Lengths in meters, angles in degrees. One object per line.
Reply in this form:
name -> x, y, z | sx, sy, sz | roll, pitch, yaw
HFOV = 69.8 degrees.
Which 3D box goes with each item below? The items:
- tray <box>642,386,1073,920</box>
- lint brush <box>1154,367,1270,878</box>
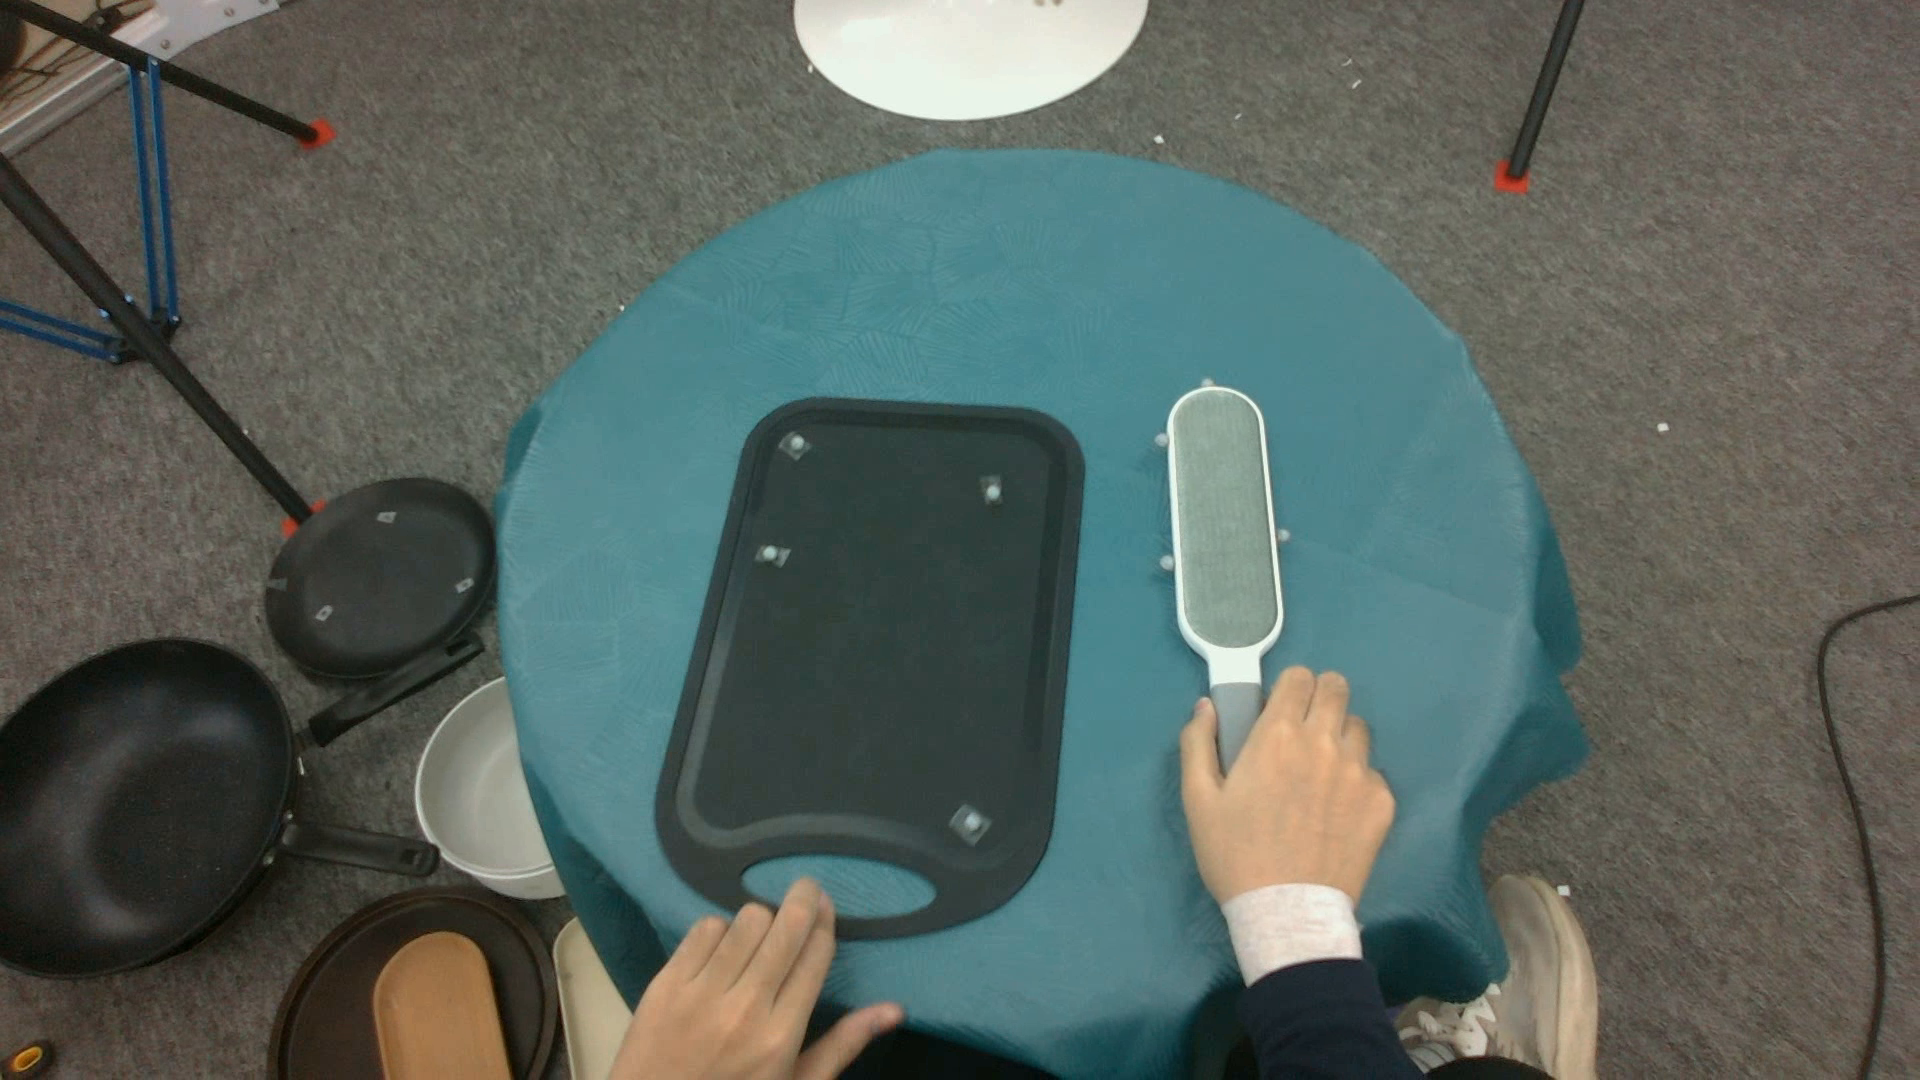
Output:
tray -> -0.050, 0.047, 0.761 | 0.211, 0.010, 0.327 | 4, 59, 6
lint brush -> 0.138, 0.031, 0.748 | 0.060, 0.021, 0.310 | 2, 59, -1
